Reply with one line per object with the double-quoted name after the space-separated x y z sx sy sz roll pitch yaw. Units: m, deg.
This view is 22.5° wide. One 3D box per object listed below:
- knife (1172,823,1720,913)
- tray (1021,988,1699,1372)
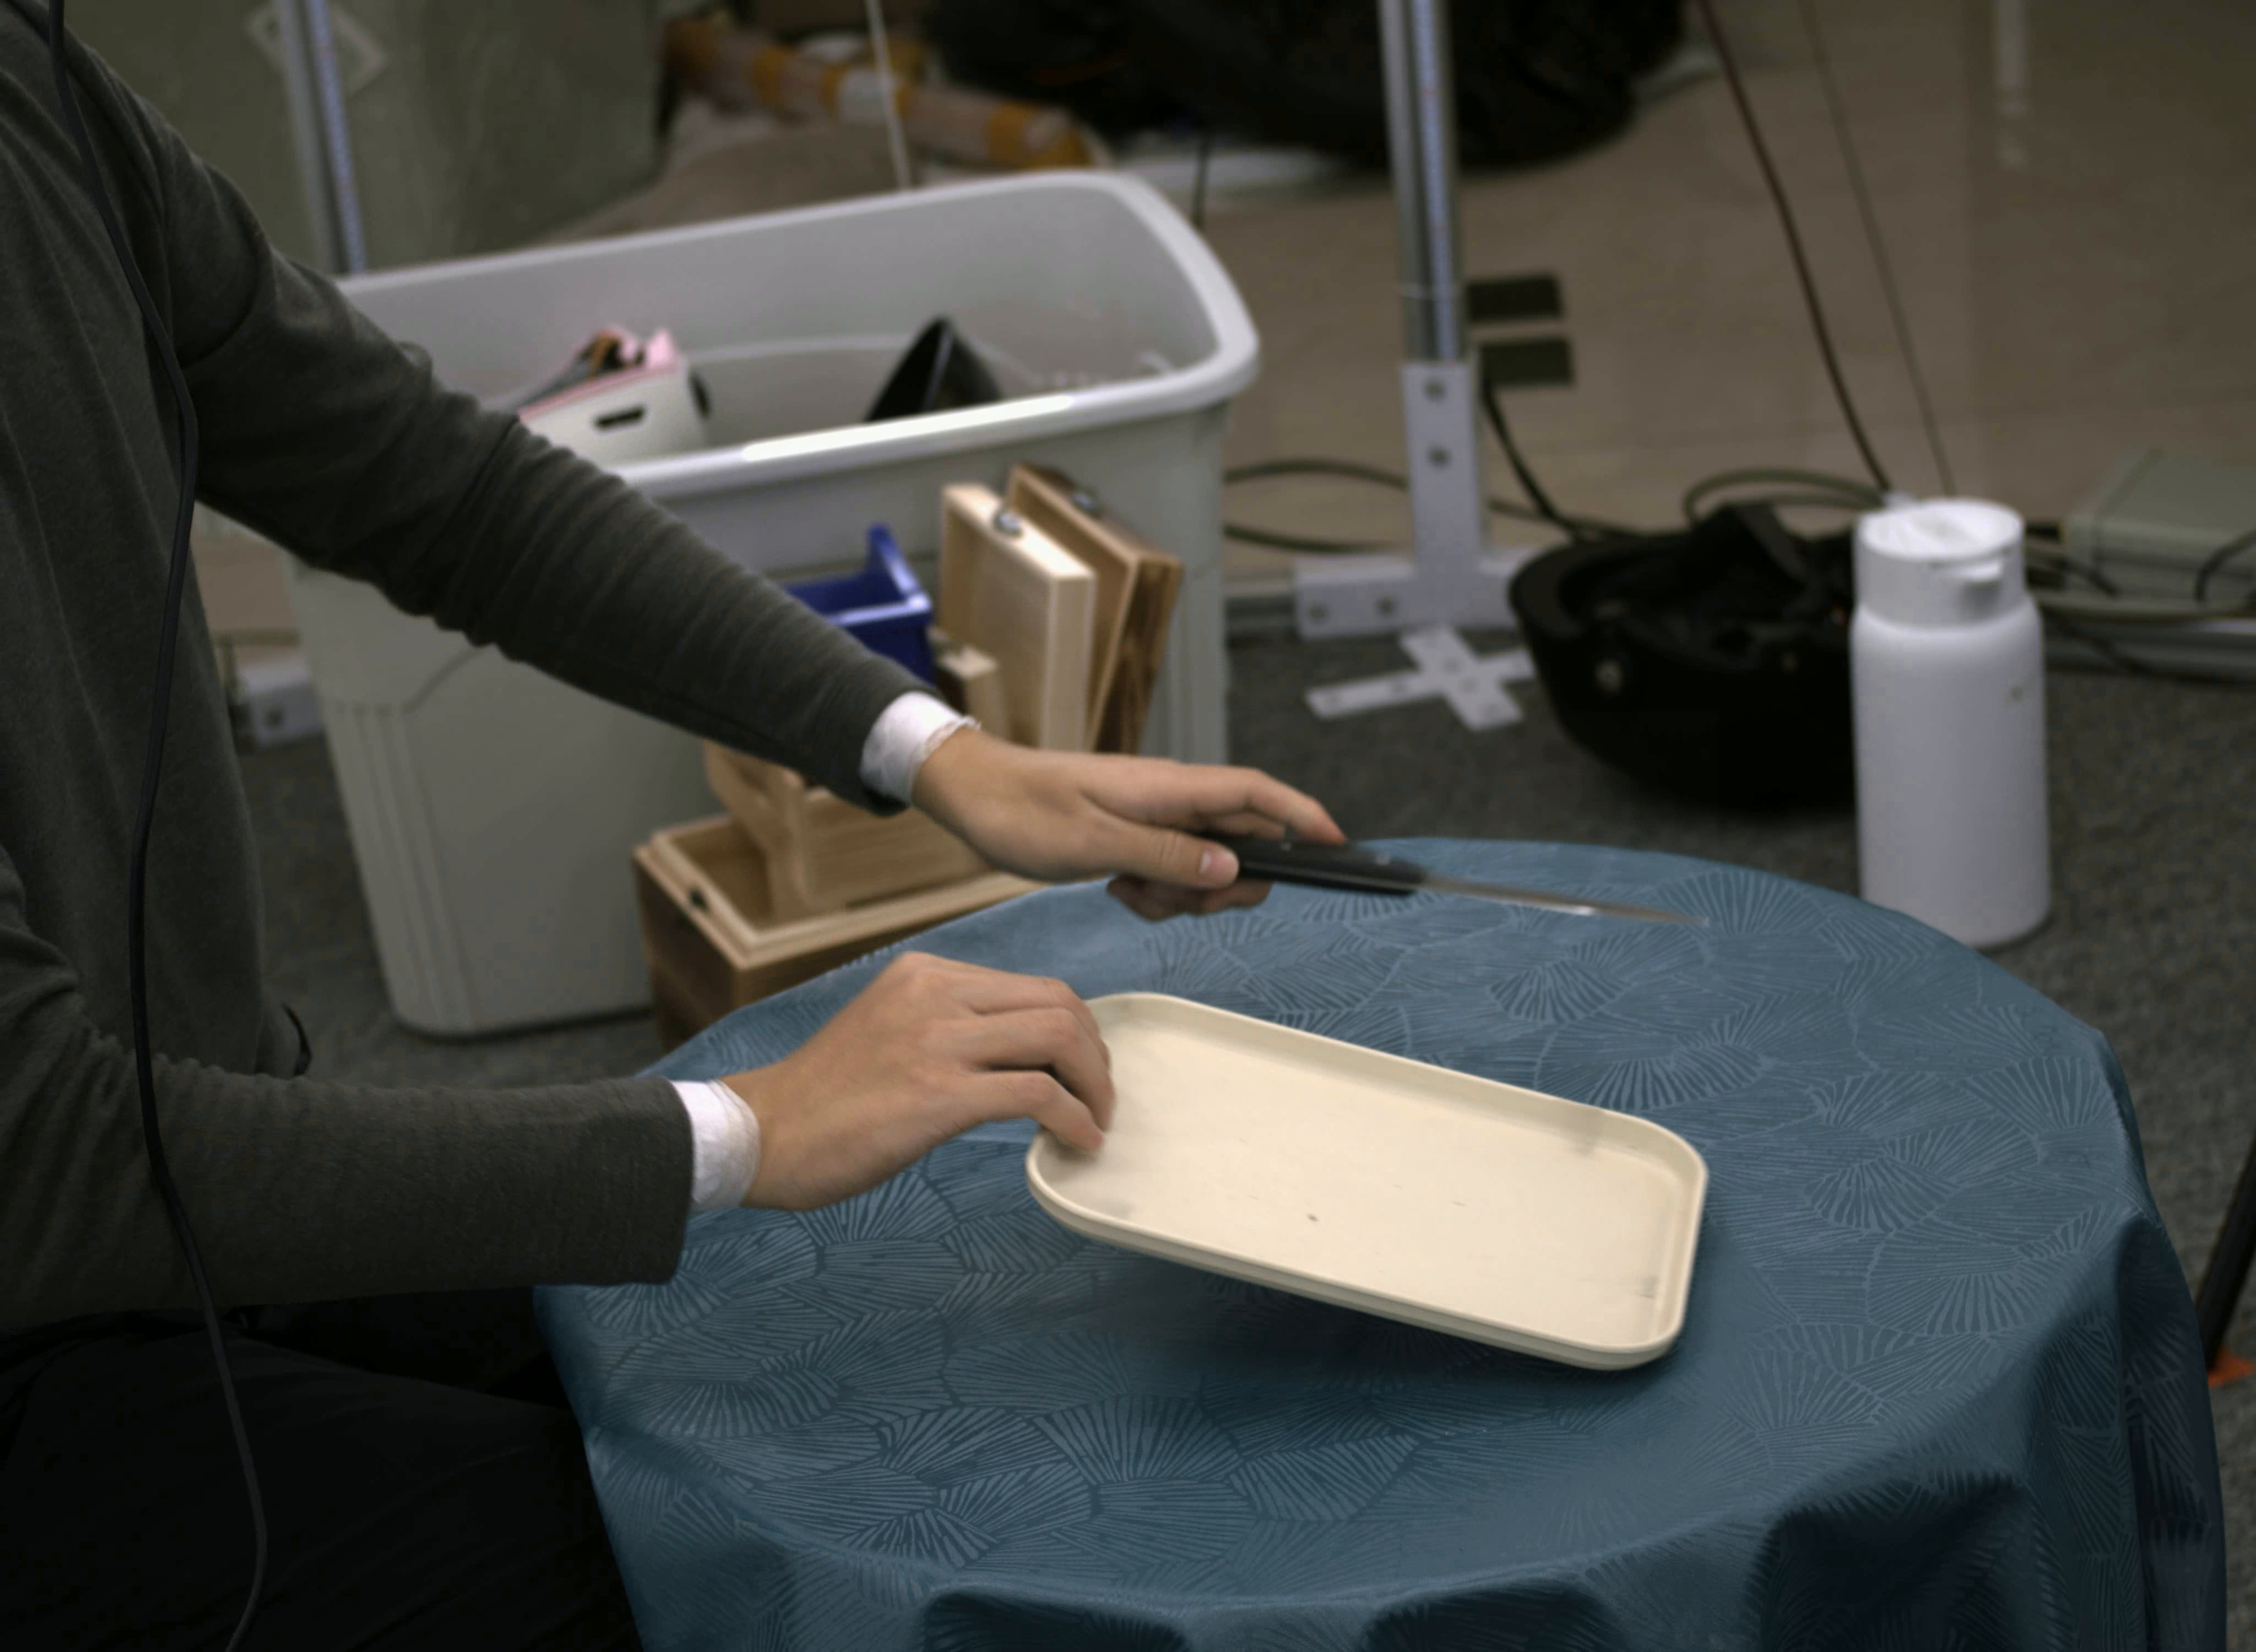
0.119 0.020 2.208 0.237 0.016 0.024 7 21 28 "knife"
0.085 0.128 2.056 0.239 0.018 0.169 15 28 3 "tray"
